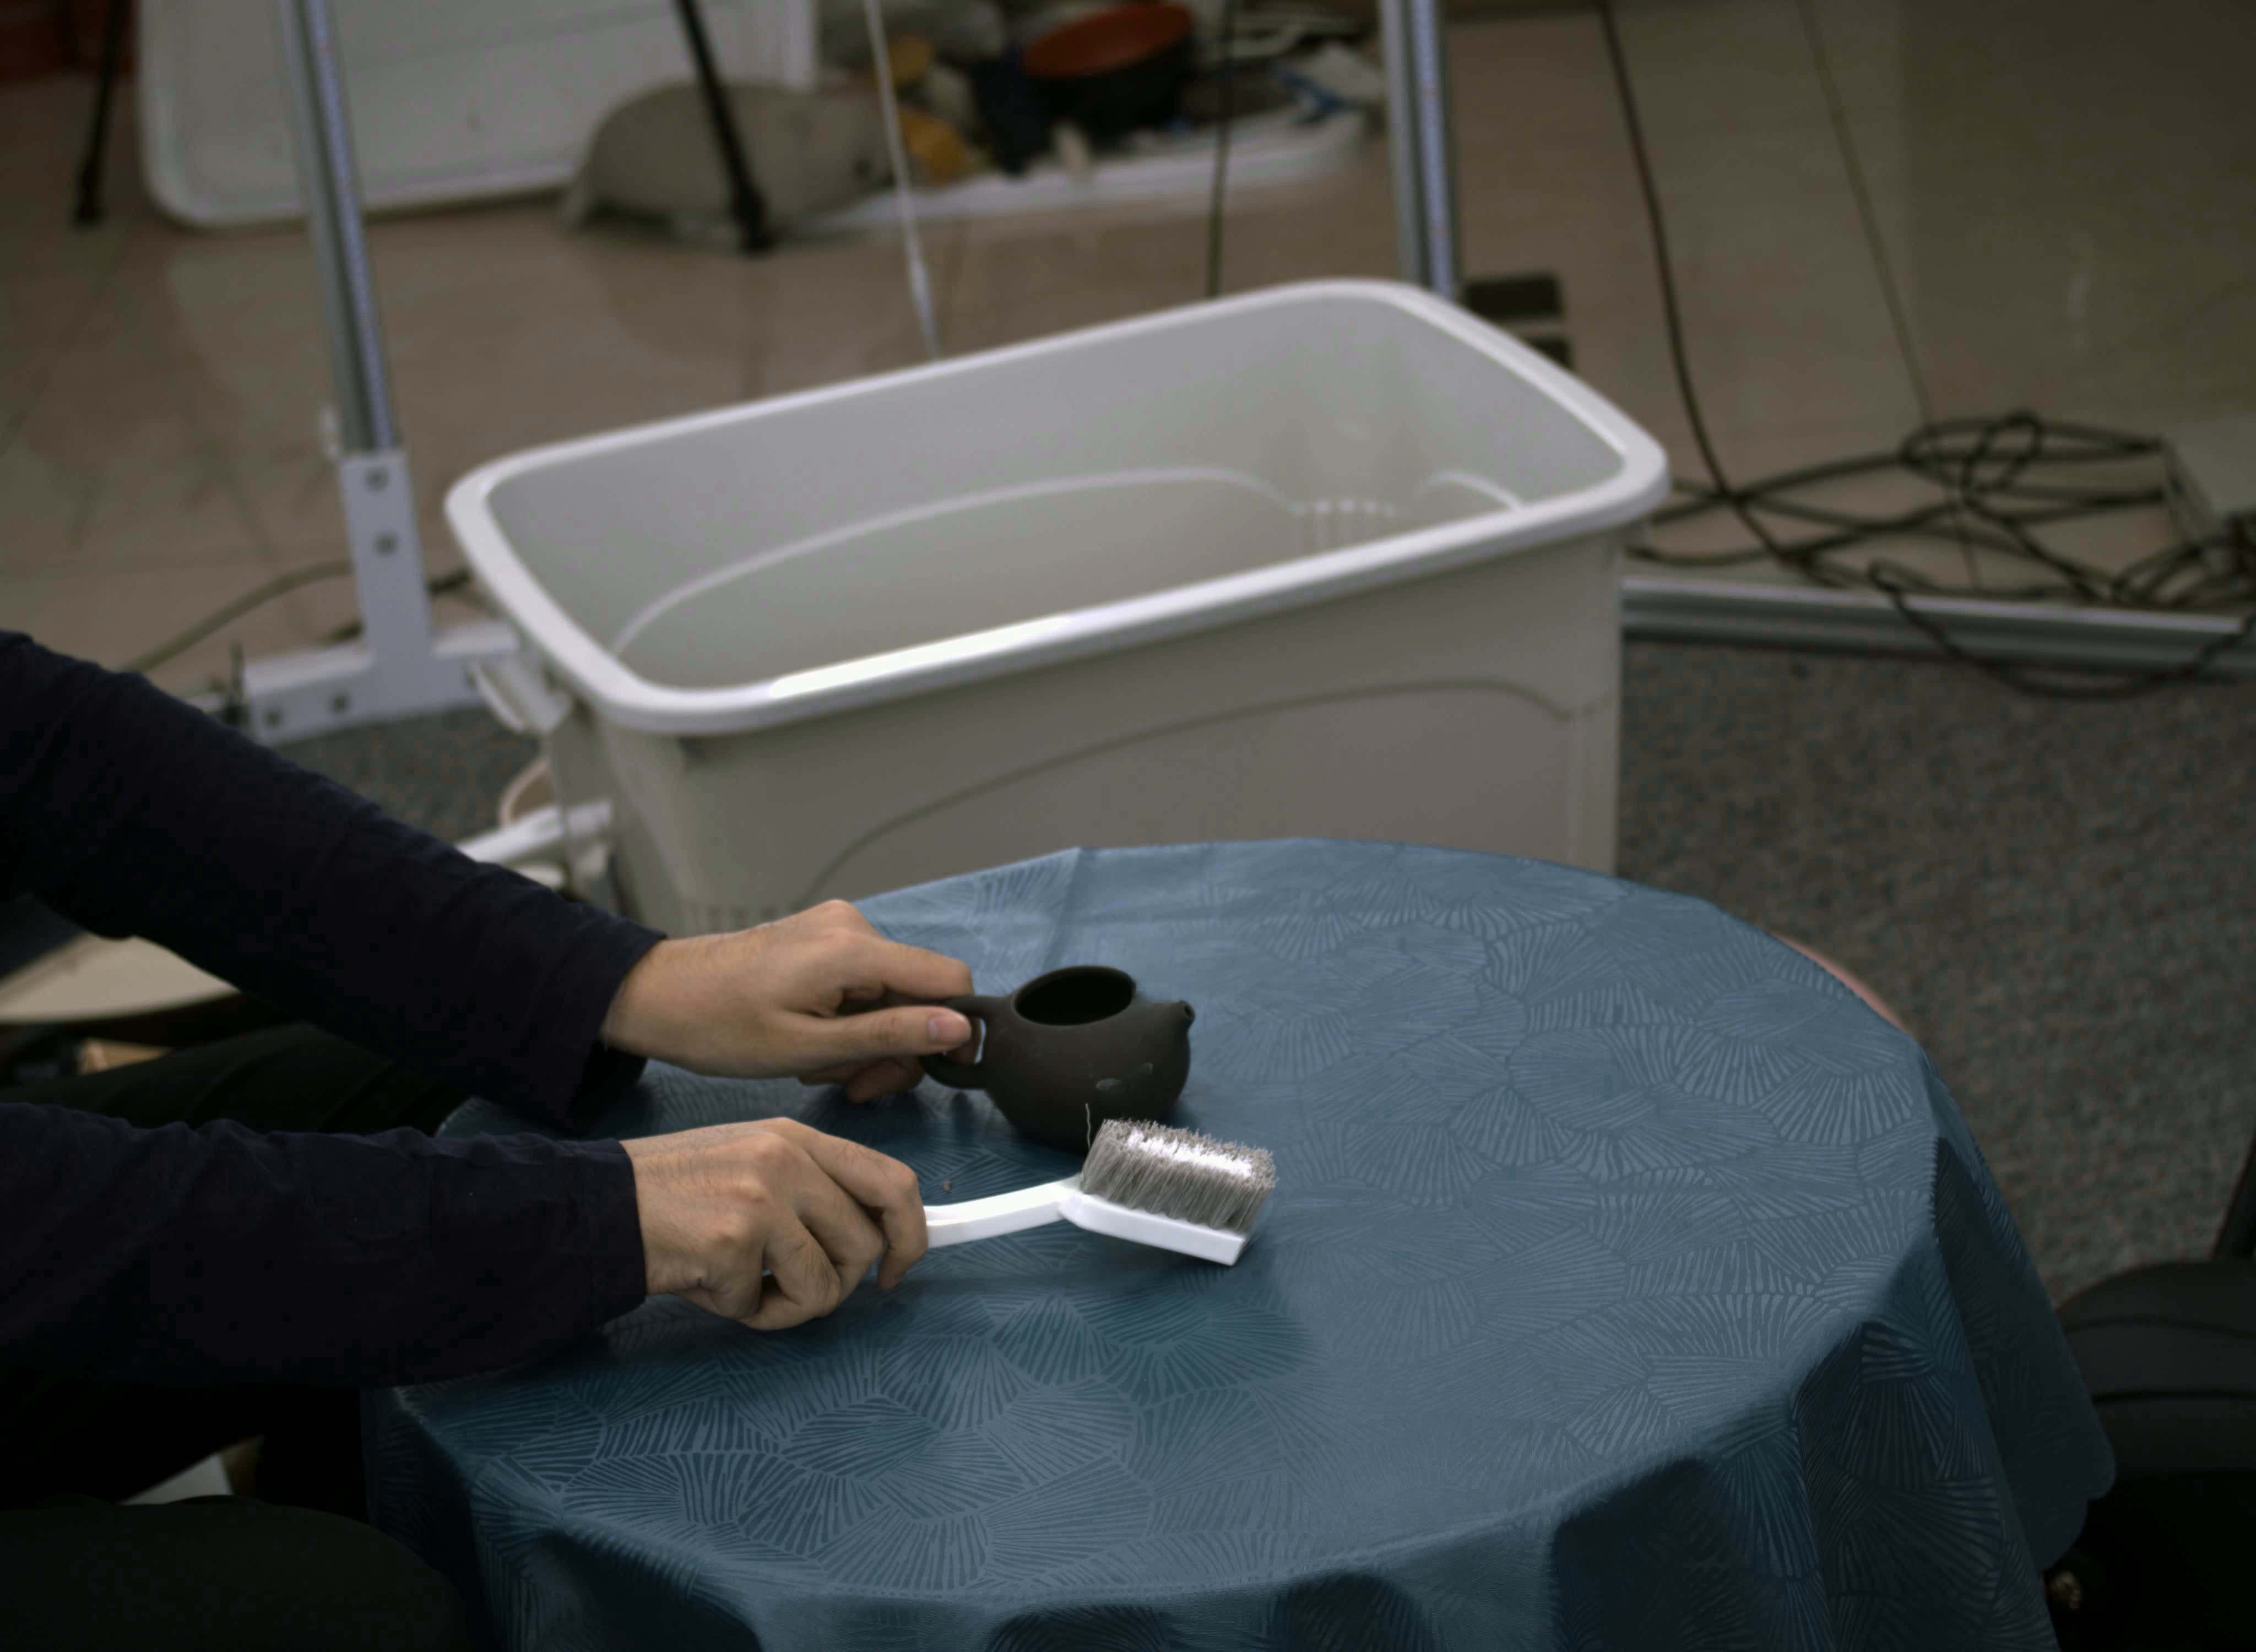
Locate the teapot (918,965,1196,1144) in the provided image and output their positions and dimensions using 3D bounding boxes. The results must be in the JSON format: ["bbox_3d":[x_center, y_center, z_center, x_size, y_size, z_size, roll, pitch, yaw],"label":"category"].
[{"bbox_3d":[-0.027,0.088,2.204,0.114,0.054,0.082,2,27,17],"label":"teapot"}]

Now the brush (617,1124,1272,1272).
[{"bbox_3d":[-0.068,0.136,2.092,0.243,0.051,0.034,0,30,3],"label":"brush"}]
